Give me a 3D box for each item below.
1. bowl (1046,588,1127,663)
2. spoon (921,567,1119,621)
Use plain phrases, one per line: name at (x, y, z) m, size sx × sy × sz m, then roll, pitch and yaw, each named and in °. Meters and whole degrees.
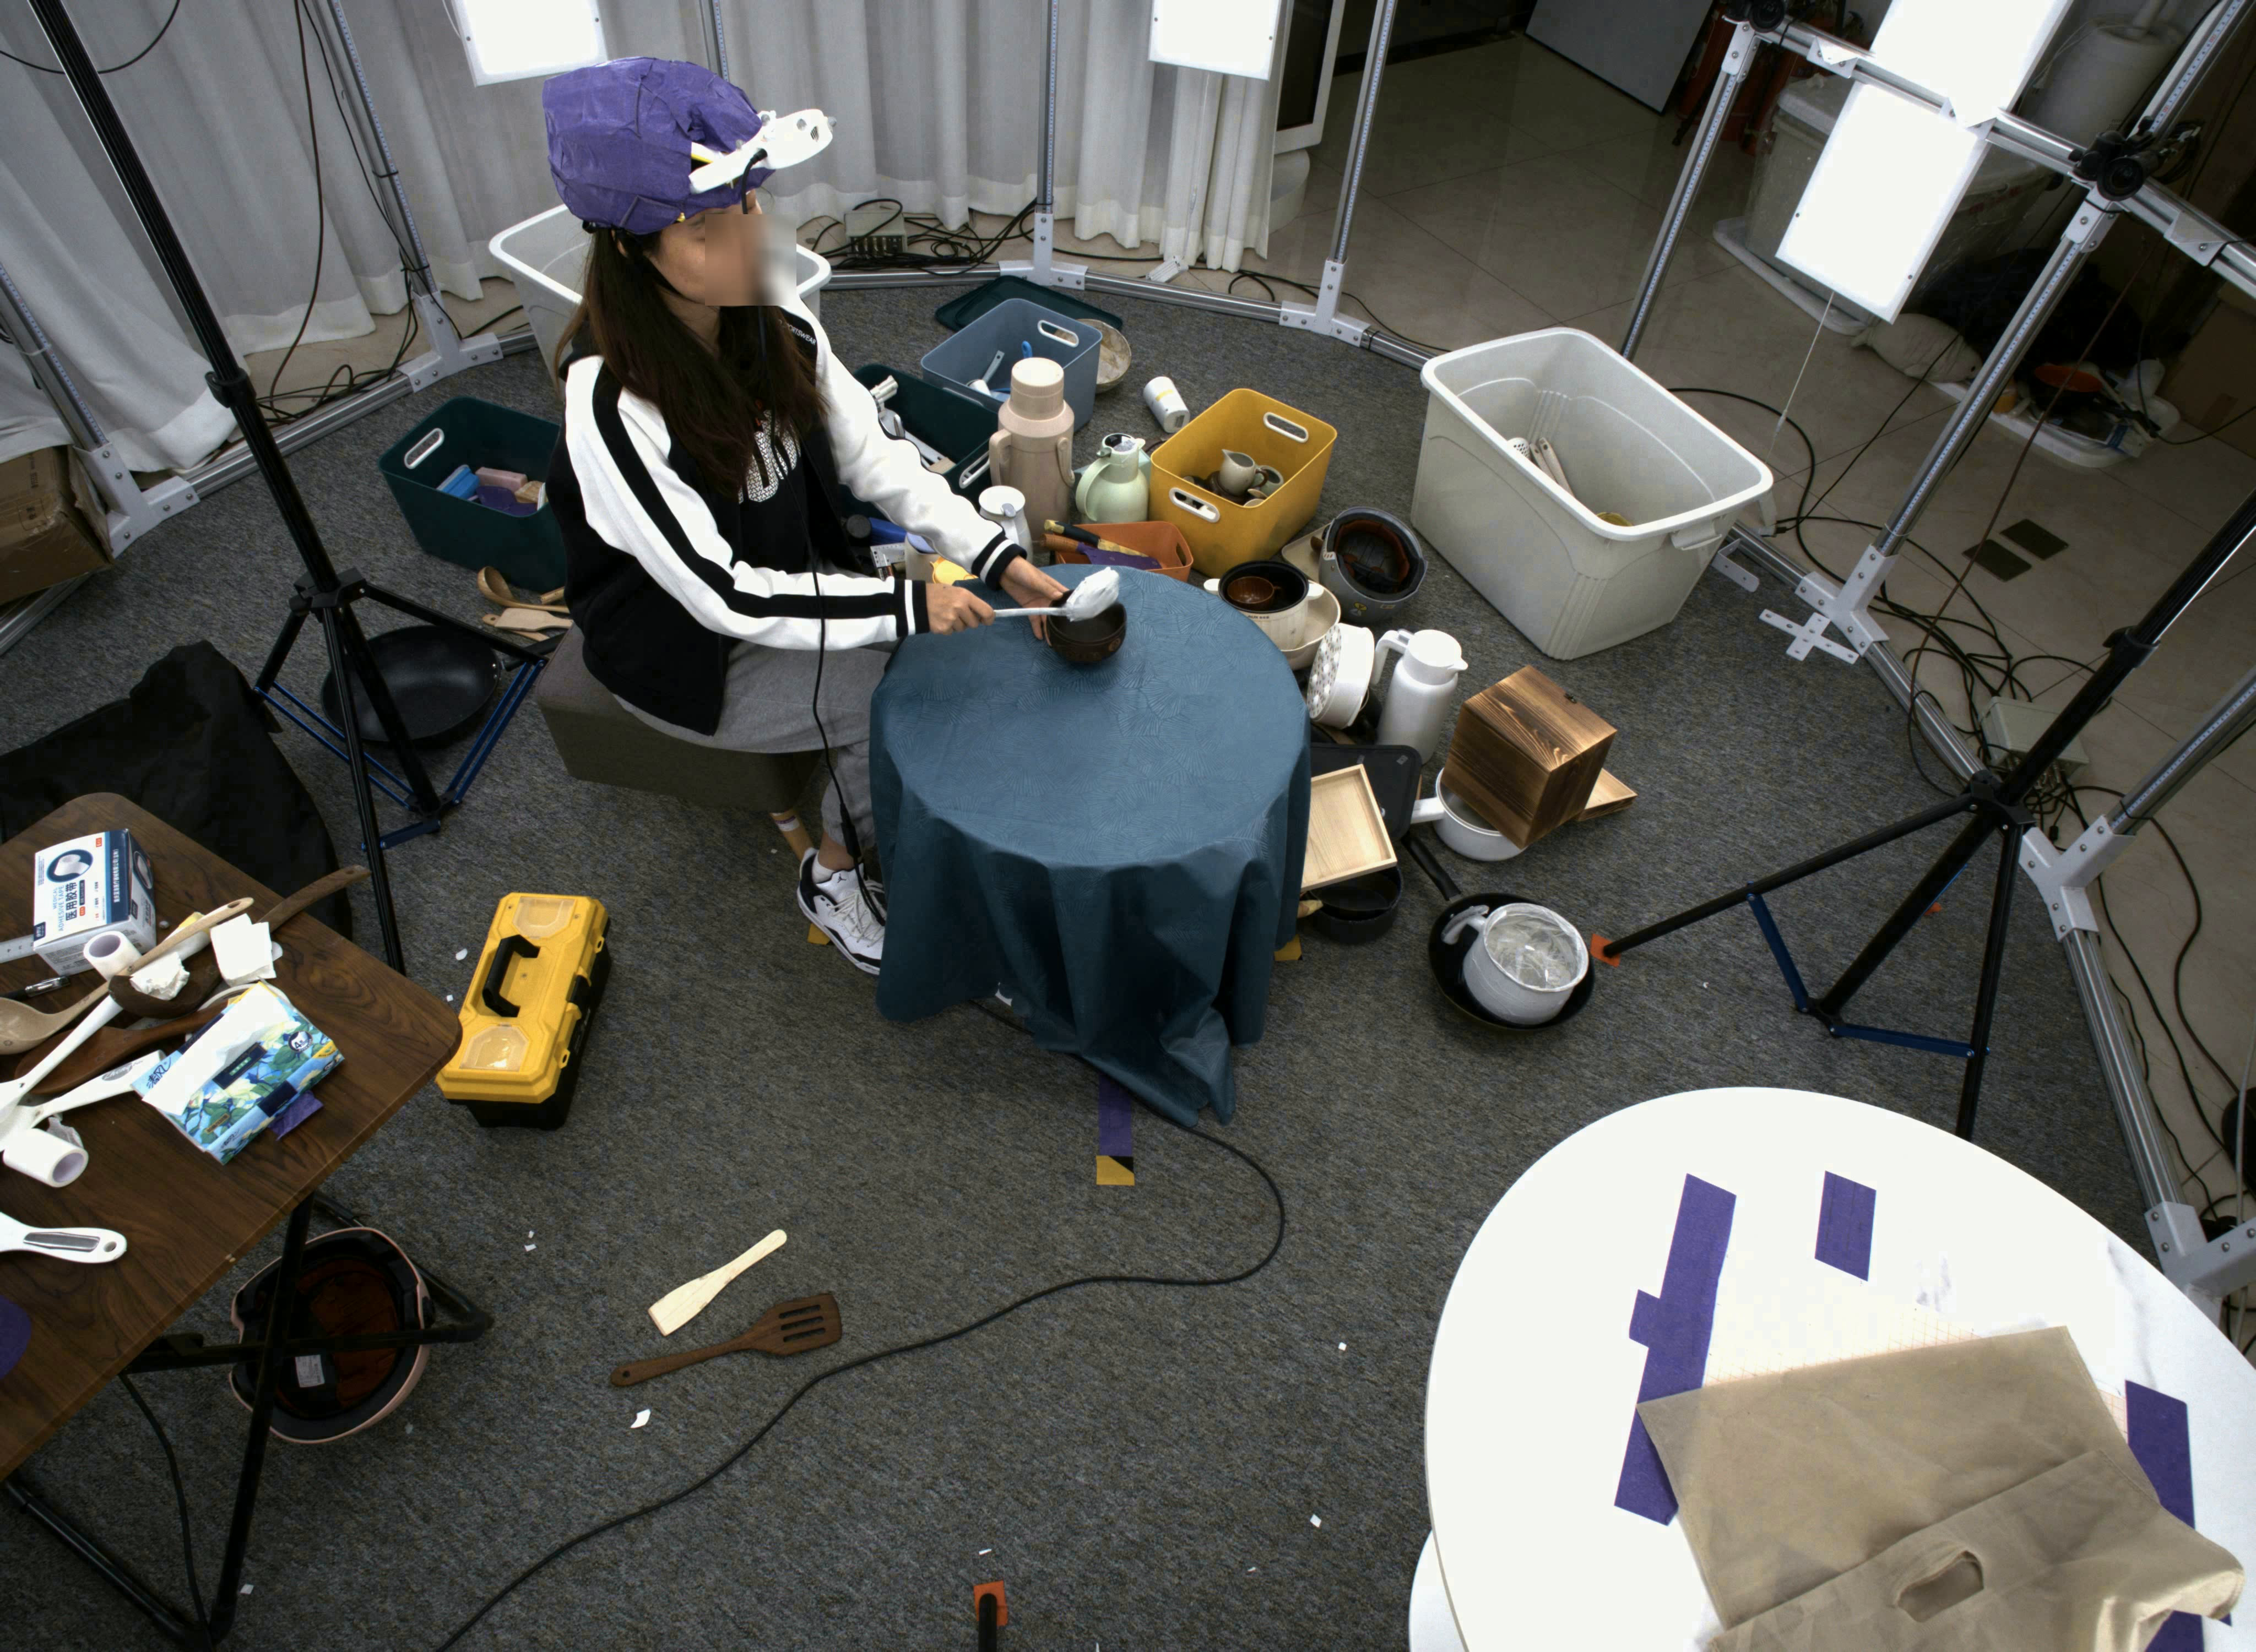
bowl at (-0.060, -0.283, 1.864) m, size 0.118 × 0.068 × 0.121 m, roll 2°, pitch 49°, yaw -2°
spoon at (-0.149, -0.318, 1.807) m, size 0.277 × 0.098 × 0.060 m, roll -3°, pitch 62°, yaw -1°
